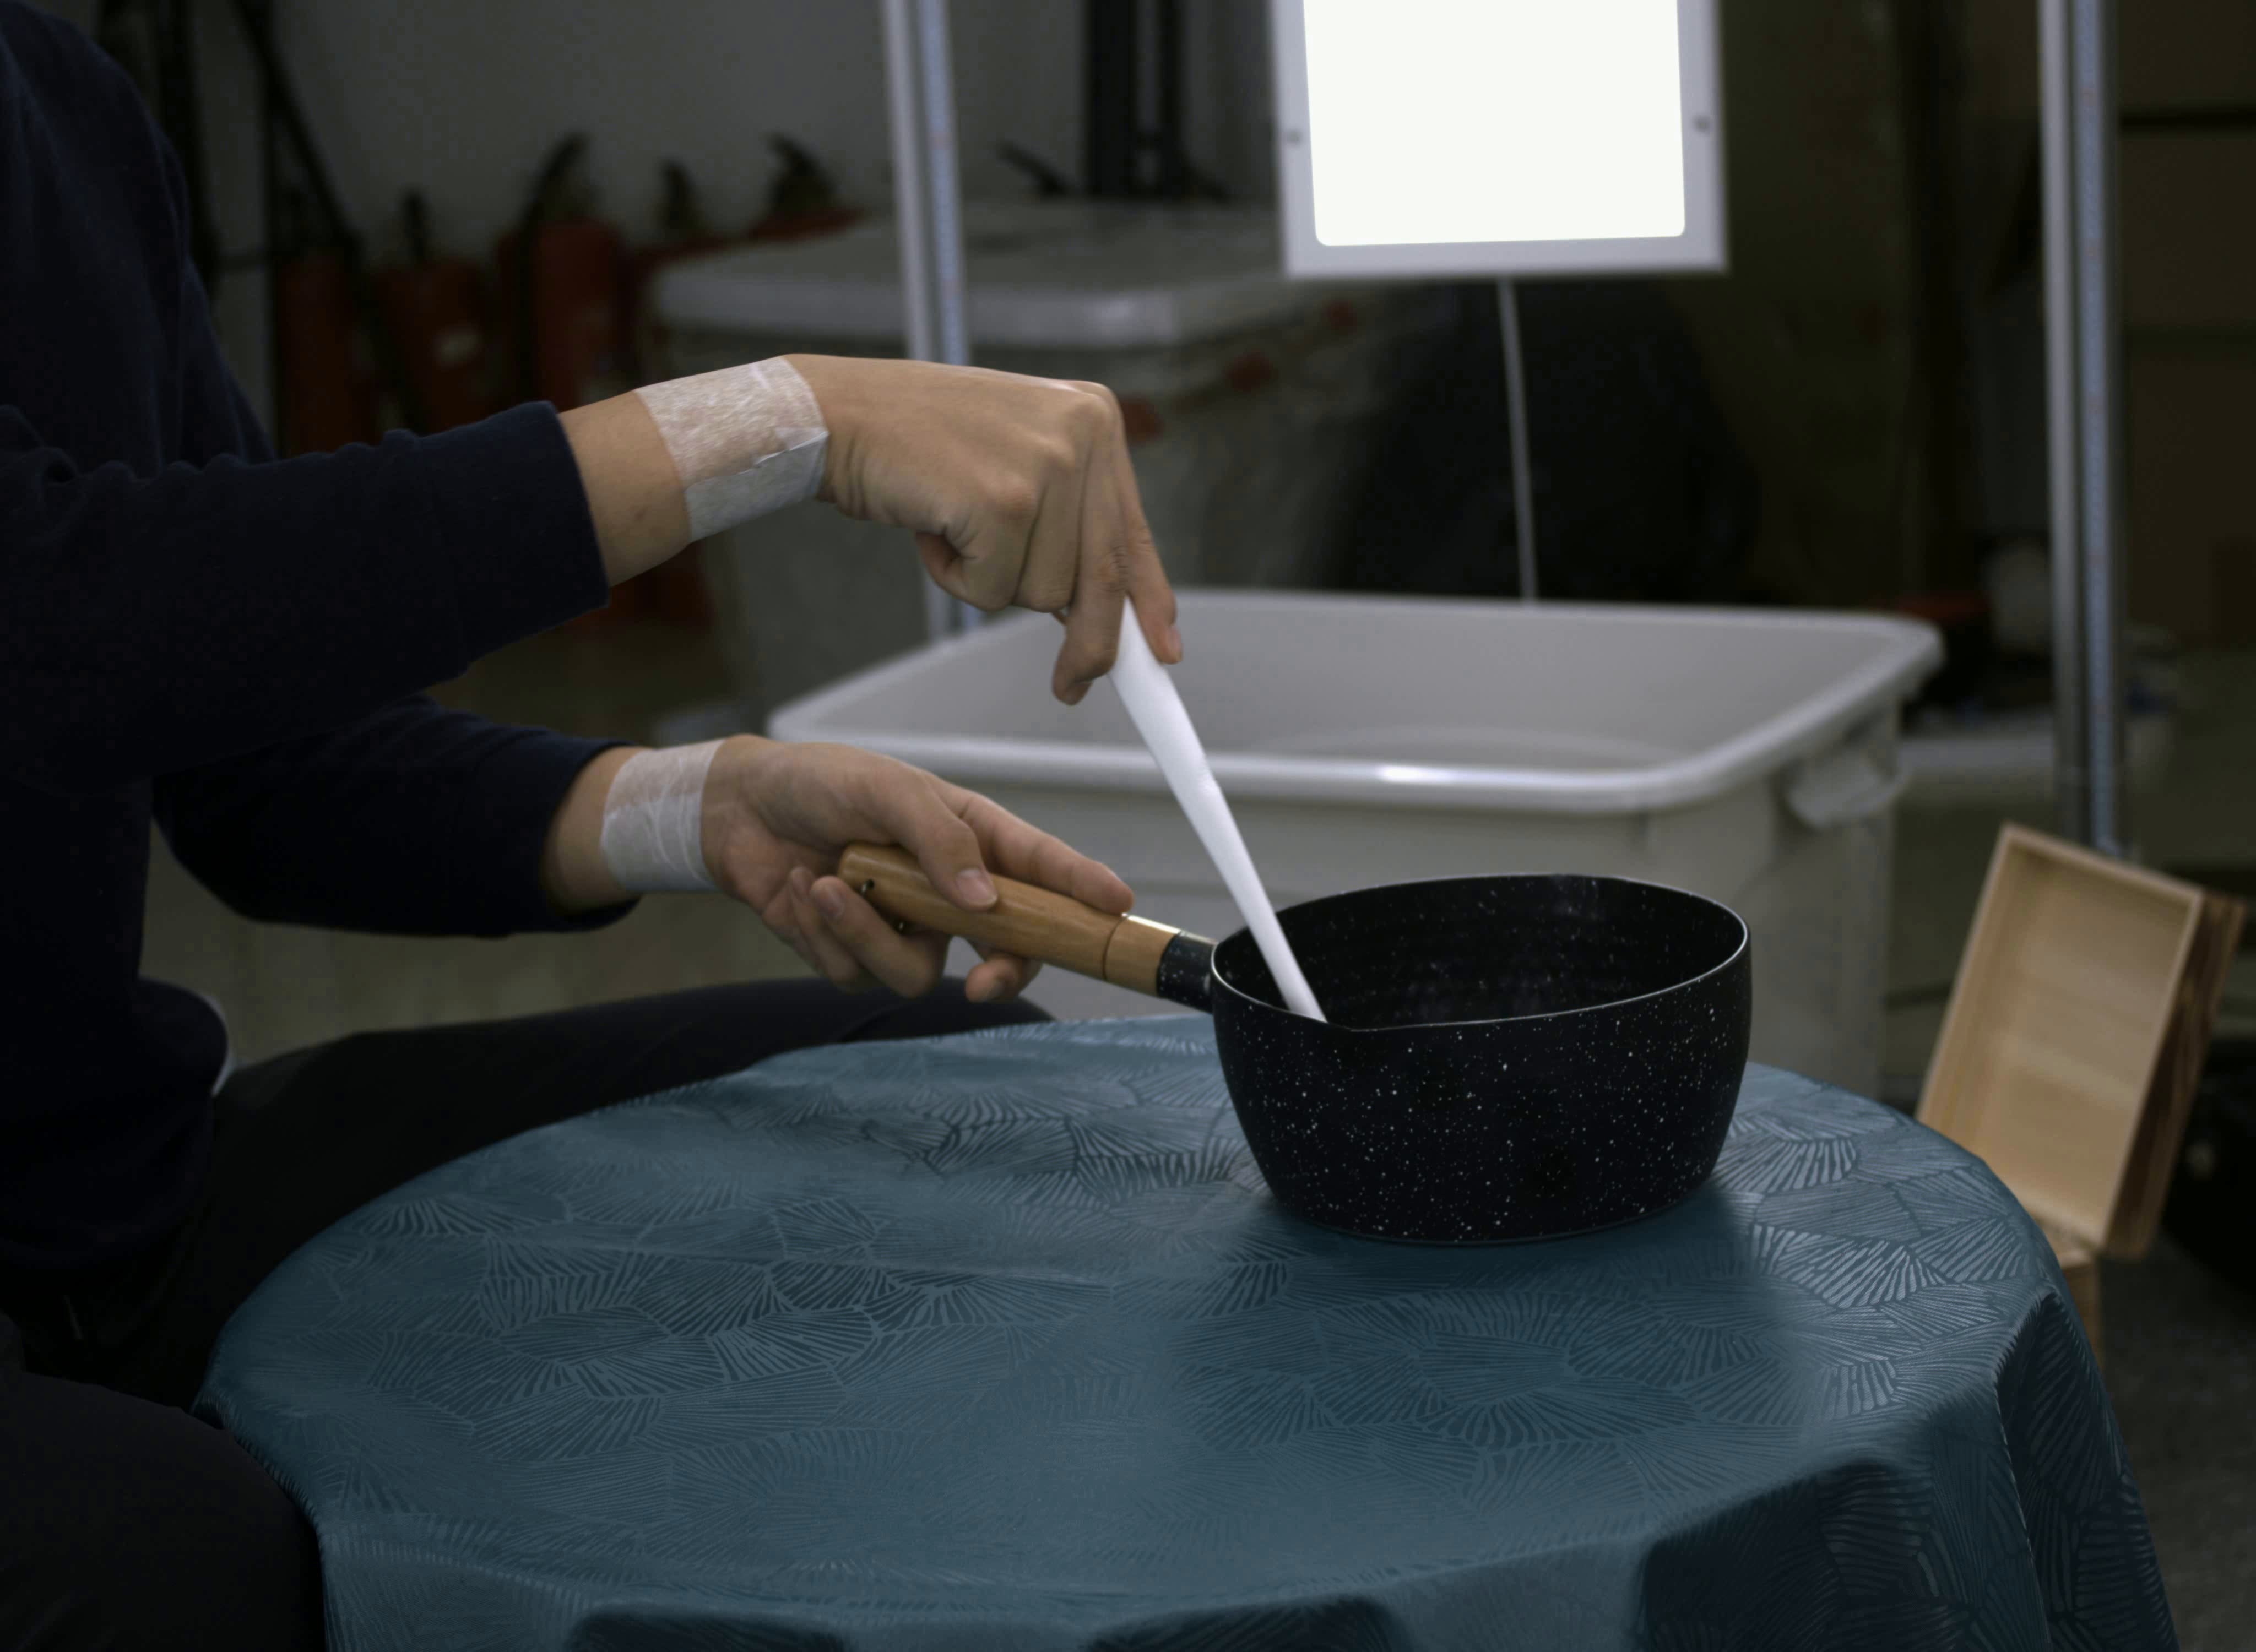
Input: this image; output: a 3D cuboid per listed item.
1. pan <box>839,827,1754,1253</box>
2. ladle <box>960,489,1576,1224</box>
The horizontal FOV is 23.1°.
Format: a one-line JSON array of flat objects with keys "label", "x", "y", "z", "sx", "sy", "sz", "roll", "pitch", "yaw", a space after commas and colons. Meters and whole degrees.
[{"label": "pan", "x": 0.051, "y": 0.065, "z": 1.902, "sx": 0.349, "sy": 0.108, "sz": 0.203, "roll": 4, "pitch": 17, "yaw": 28}, {"label": "ladle", "x": 0.051, "y": 0.010, "z": 1.812, "sx": 0.071, "sy": 0.292, "sz": 0.089, "roll": -28, "pitch": 10, "yaw": 26}]
